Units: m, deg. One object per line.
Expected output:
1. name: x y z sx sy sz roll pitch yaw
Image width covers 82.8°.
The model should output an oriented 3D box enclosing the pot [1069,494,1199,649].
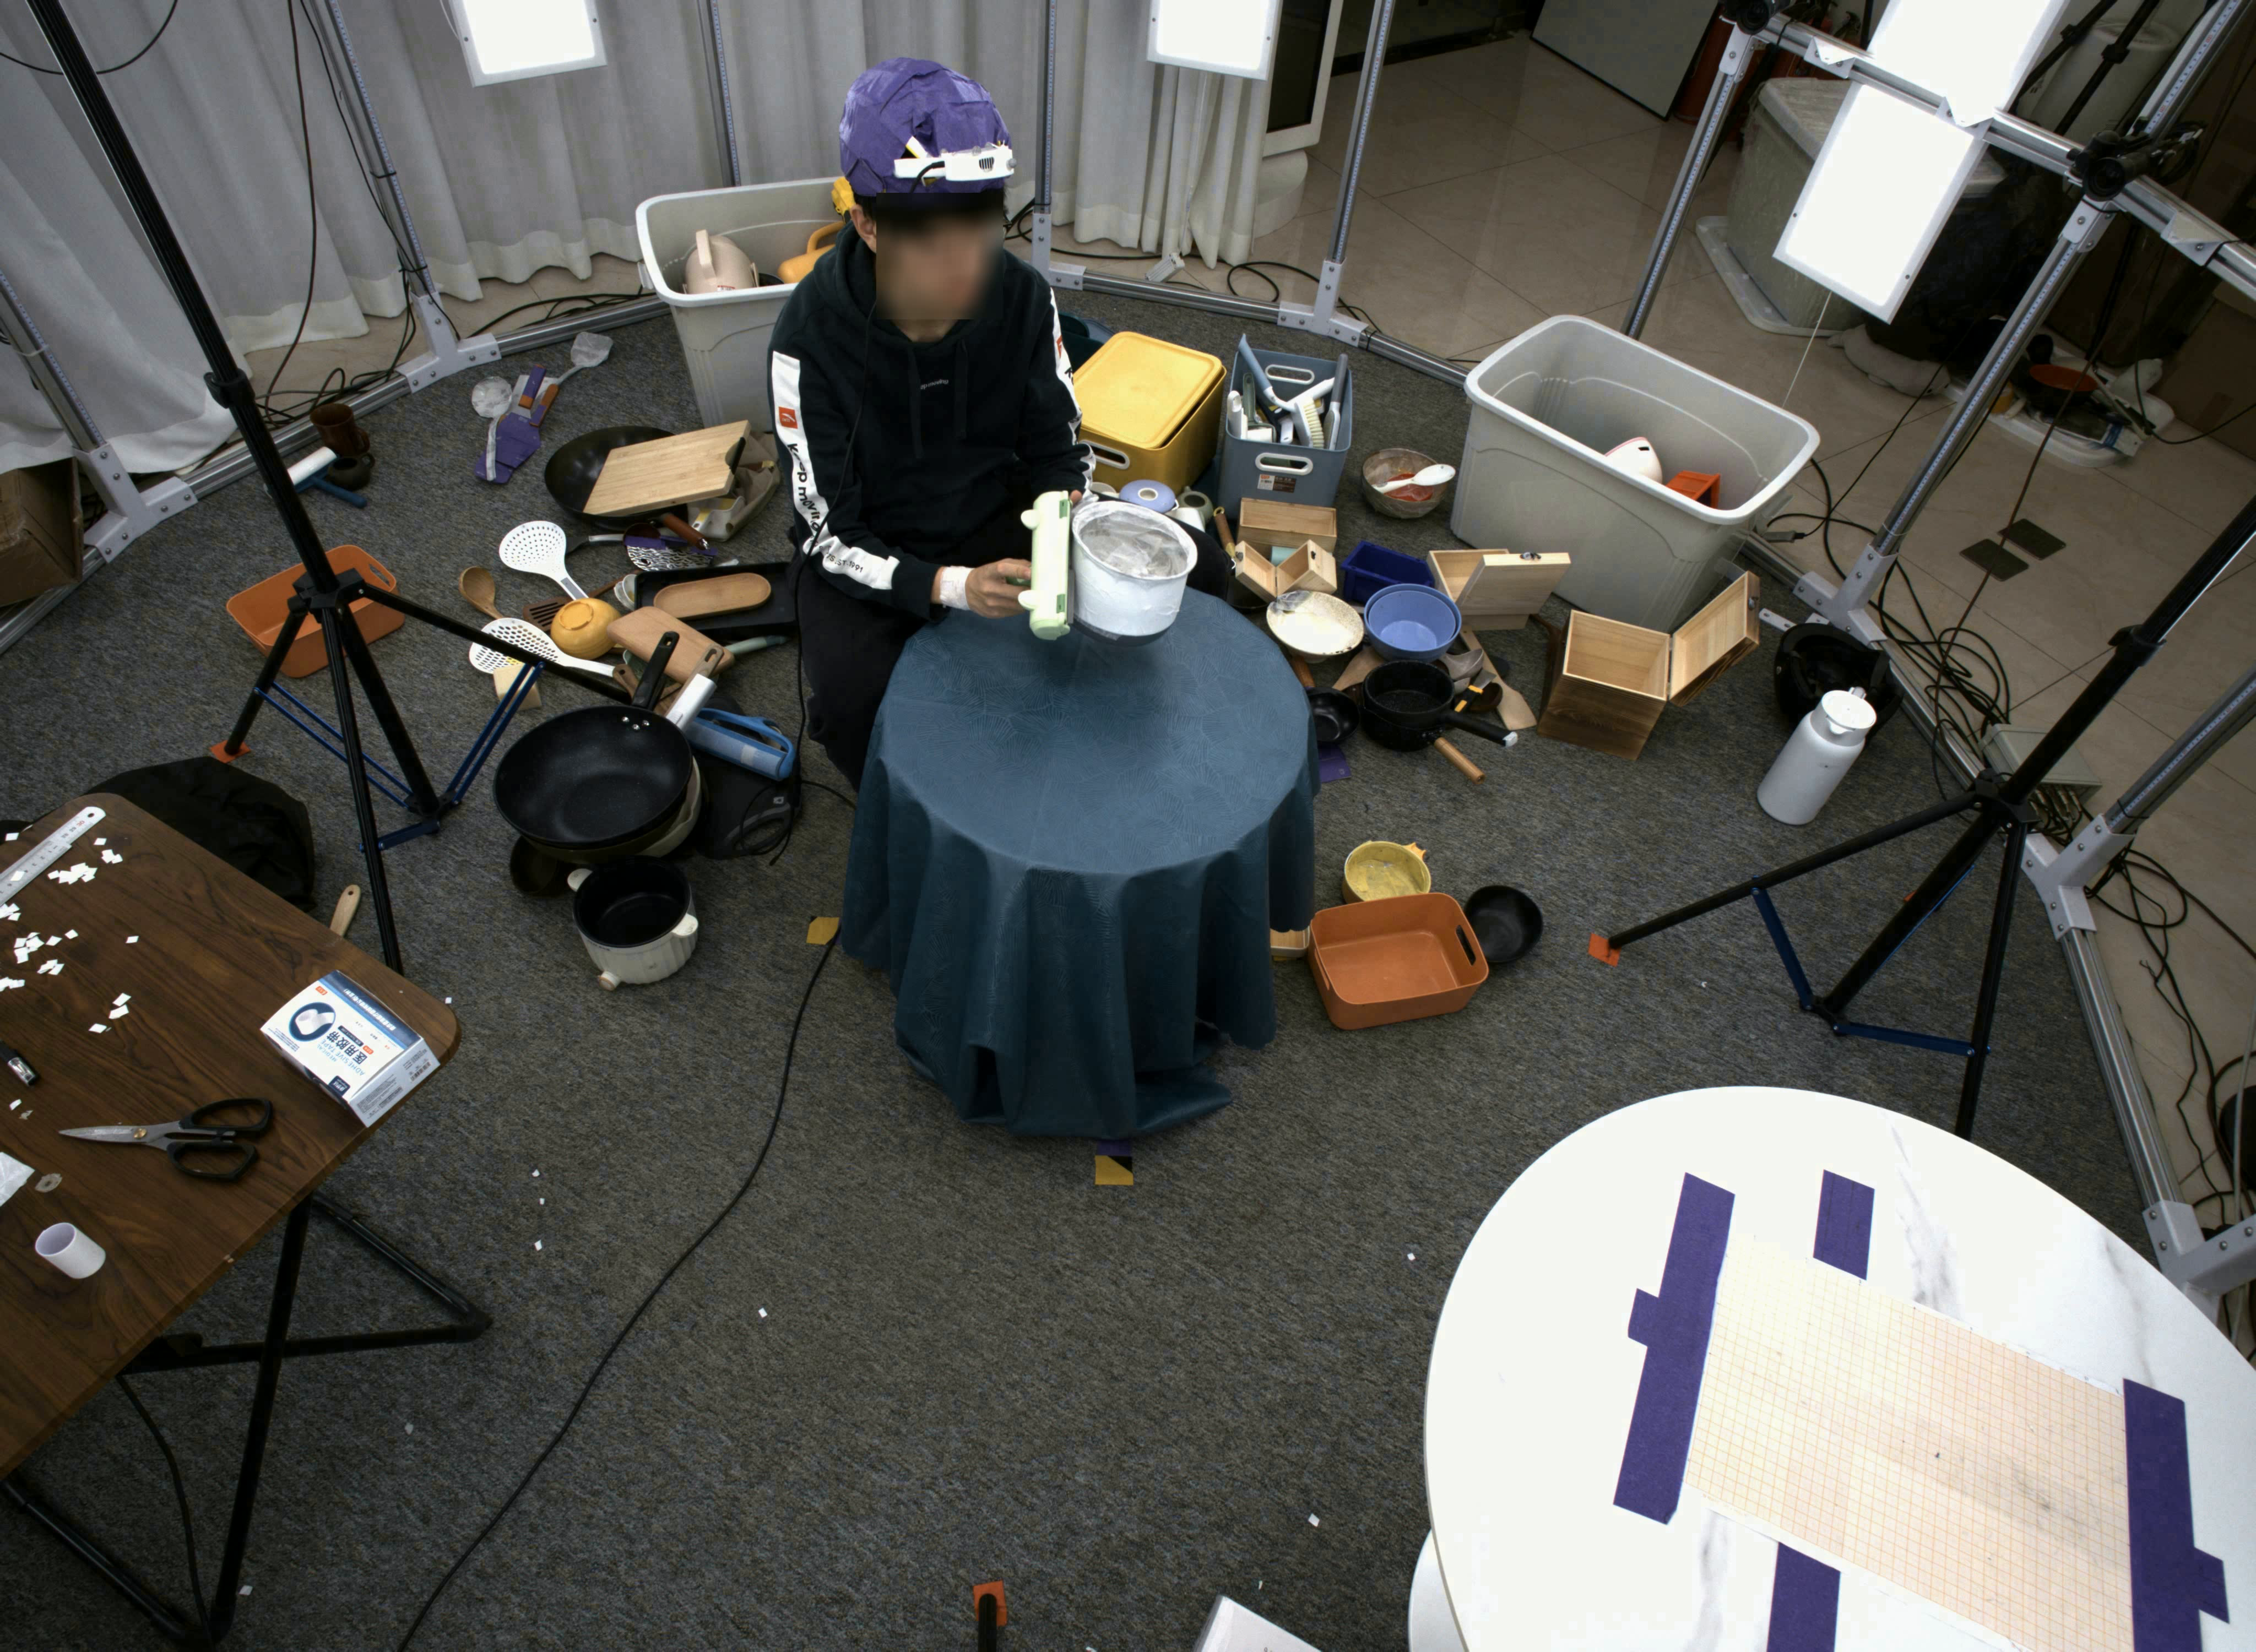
1. pot: -0.022 -0.364 1.800 0.179 0.134 0.238 -18 56 -36

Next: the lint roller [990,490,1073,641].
1. lint roller: -0.147 -0.342 1.755 0.081 0.183 0.201 16 69 -45
